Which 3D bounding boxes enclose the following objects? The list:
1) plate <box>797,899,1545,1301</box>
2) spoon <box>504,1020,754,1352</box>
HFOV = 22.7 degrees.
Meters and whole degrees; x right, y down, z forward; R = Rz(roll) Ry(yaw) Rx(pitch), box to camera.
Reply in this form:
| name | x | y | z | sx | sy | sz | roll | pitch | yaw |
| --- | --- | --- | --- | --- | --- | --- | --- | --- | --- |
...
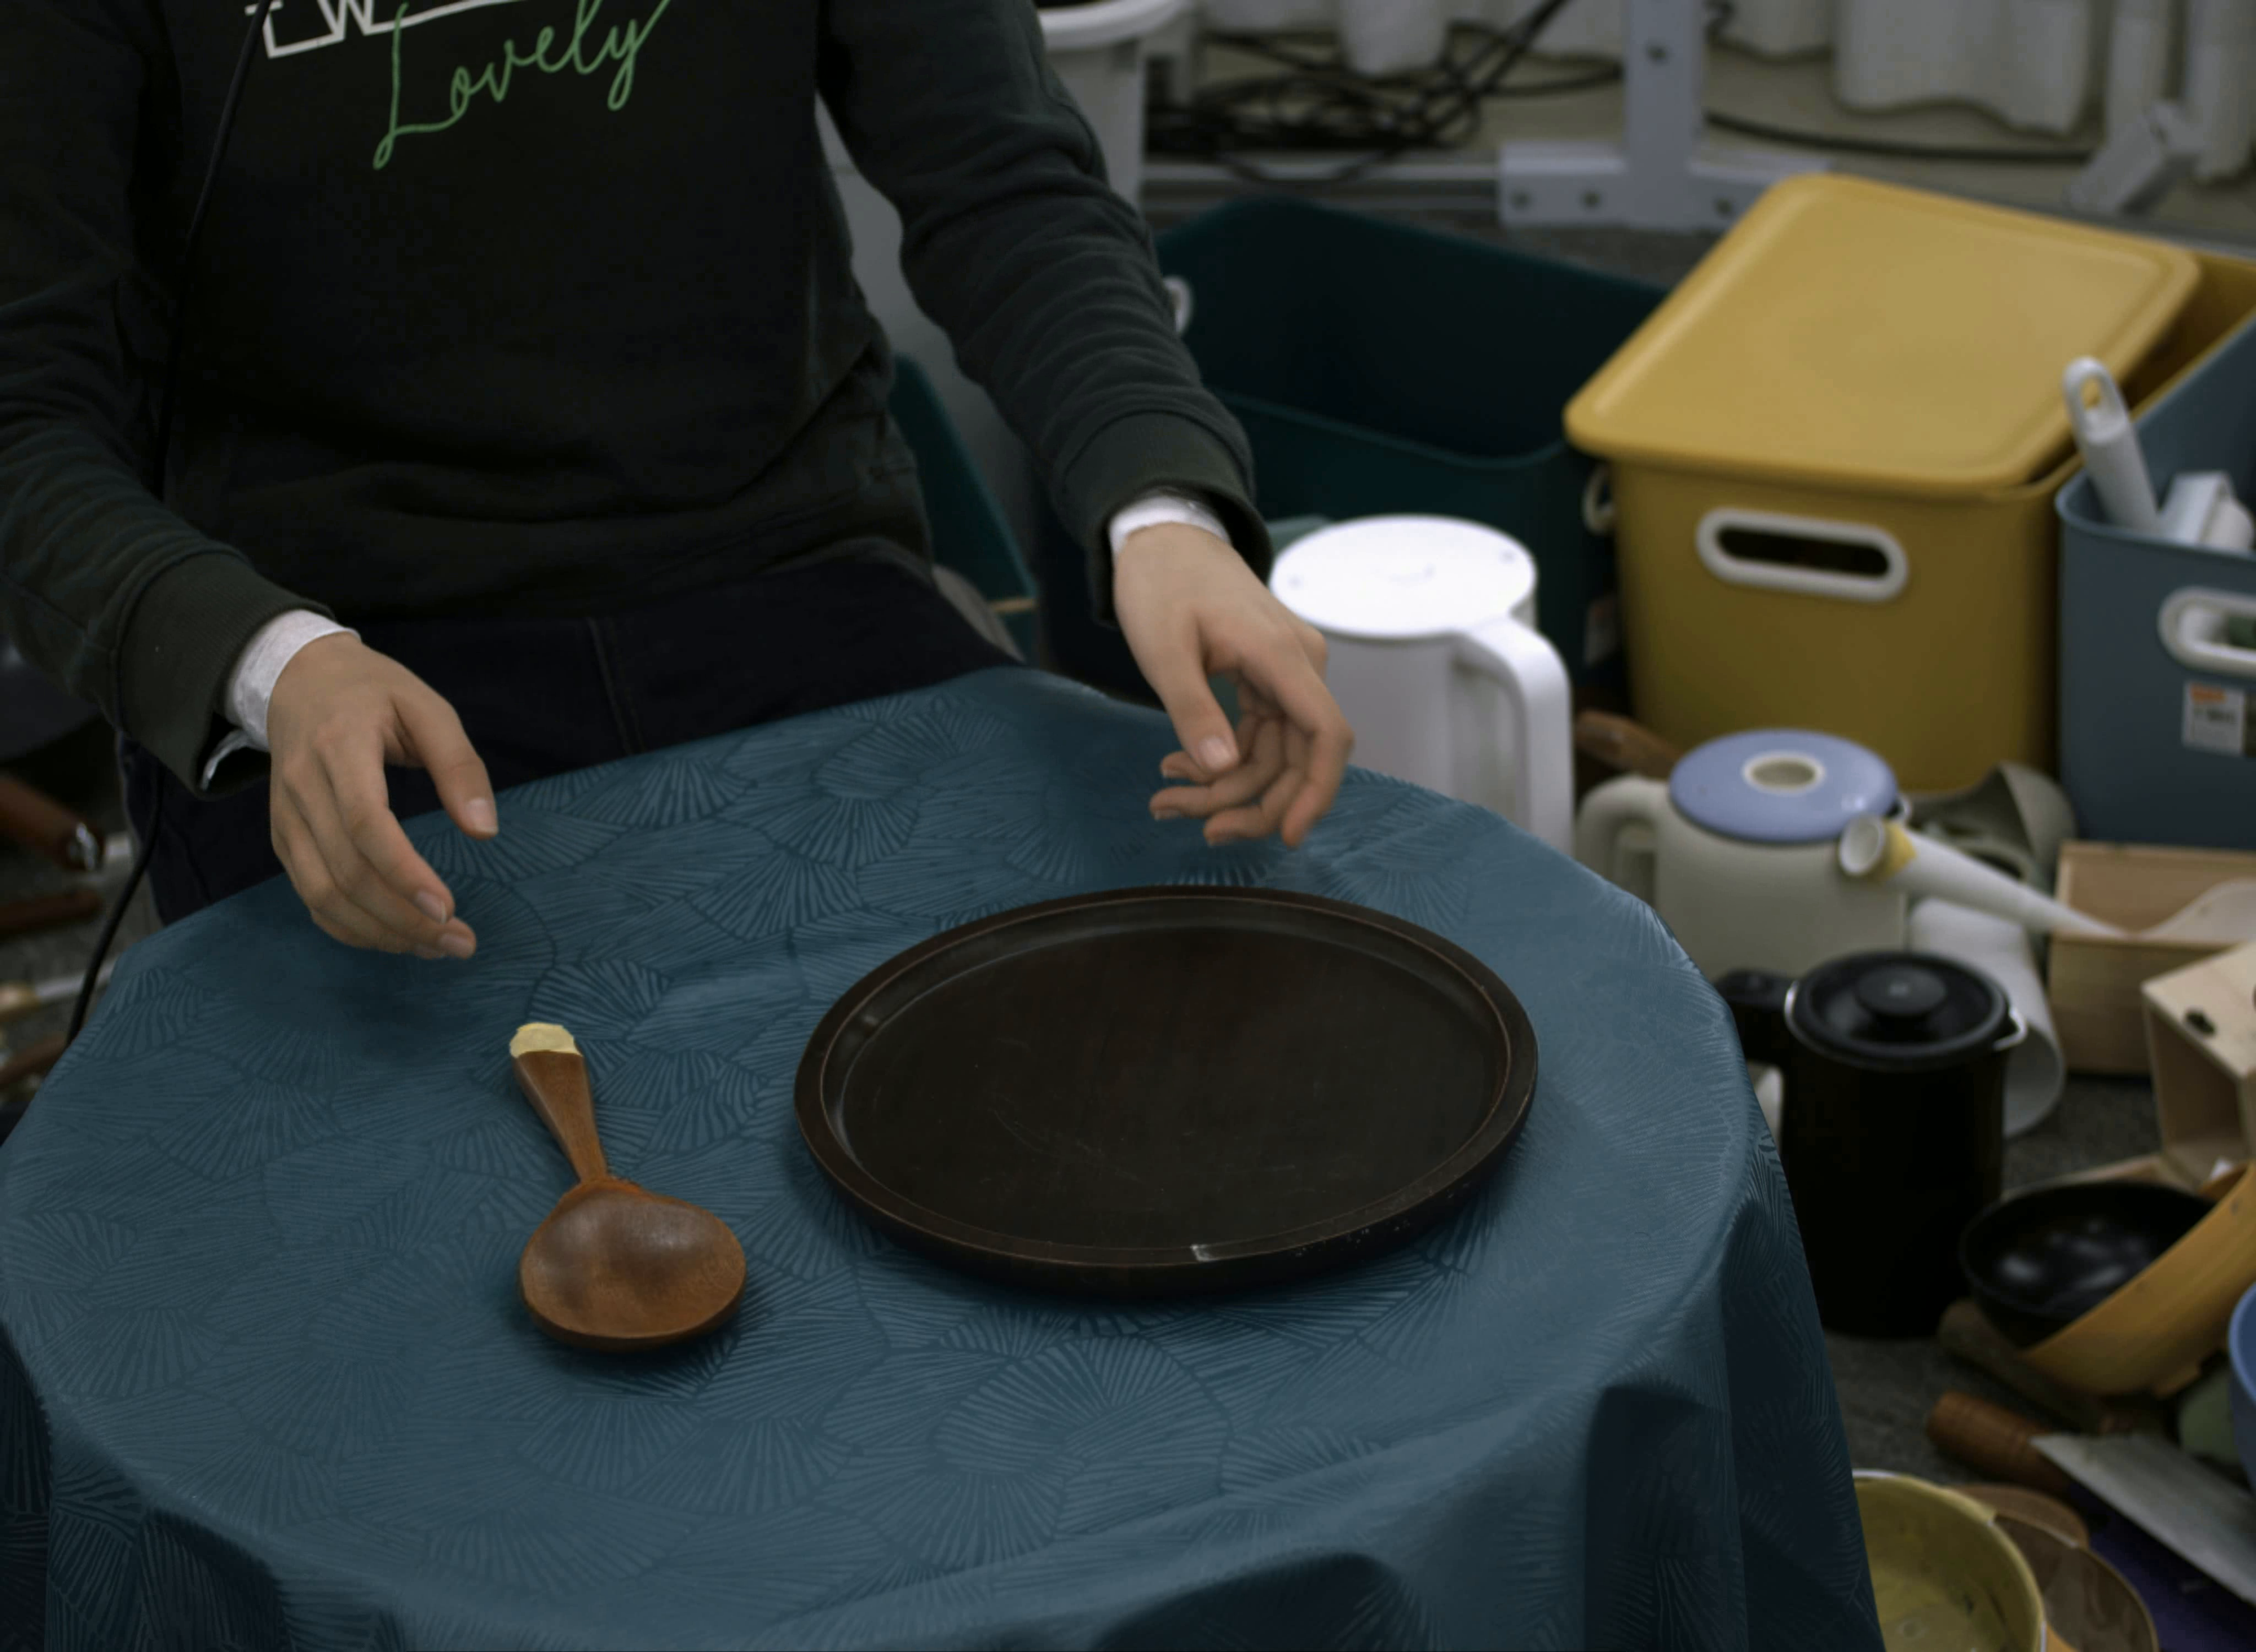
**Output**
| name | x | y | z | sx | sy | sz | roll | pitch | yaw |
| --- | --- | --- | --- | --- | --- | --- | --- | --- | --- |
| plate | 0.014 | 0.090 | 1.897 | 0.253 | 0.029 | 0.259 | -1 | 28 | 1 |
| spoon | -0.176 | 0.120 | 1.863 | 0.075 | 0.017 | 0.218 | -10 | 28 | -13 |
